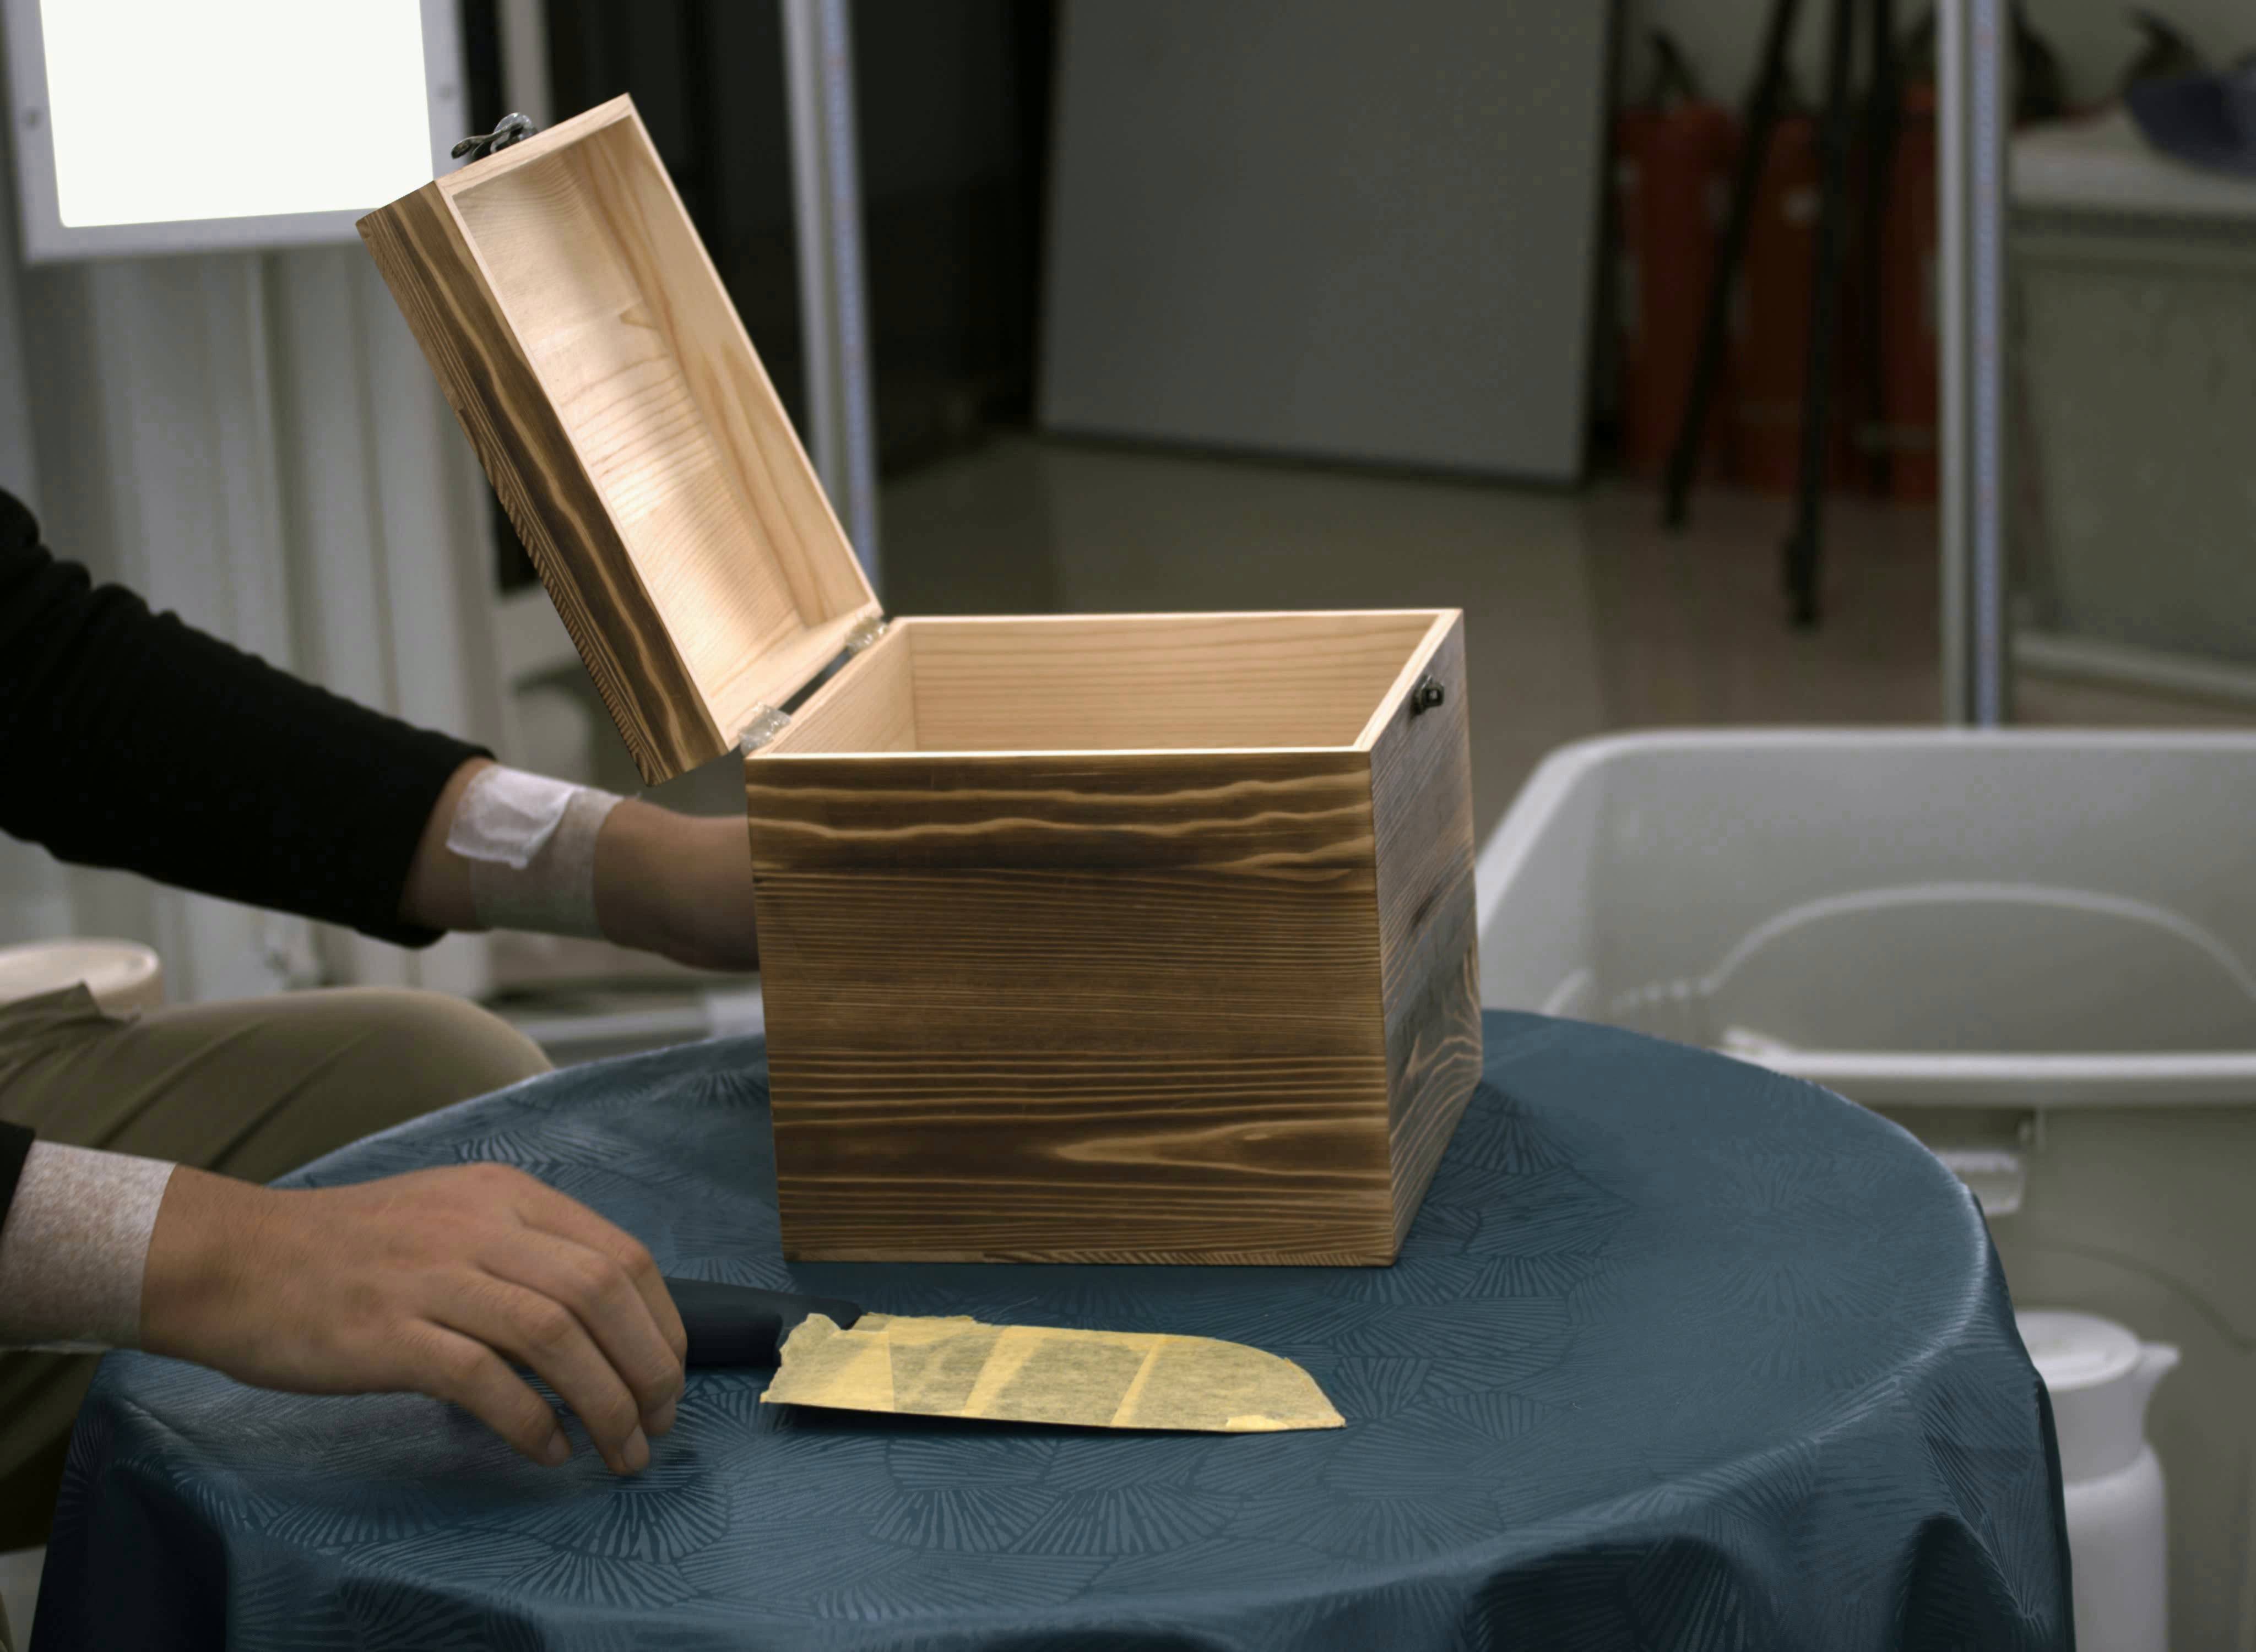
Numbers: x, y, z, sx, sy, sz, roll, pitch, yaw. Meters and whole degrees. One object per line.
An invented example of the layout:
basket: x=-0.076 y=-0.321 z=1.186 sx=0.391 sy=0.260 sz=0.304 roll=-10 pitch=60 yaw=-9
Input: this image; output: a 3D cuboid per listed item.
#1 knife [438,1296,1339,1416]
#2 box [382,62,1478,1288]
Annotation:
knife: x=-0.075 y=0.161 z=1.602 sx=0.288 sy=0.027 sz=0.080 roll=1 pitch=13 yaw=17
box: x=-0.055 y=-0.059 z=1.762 sx=0.320 sy=0.379 sz=0.207 roll=-2 pitch=14 yaw=13
